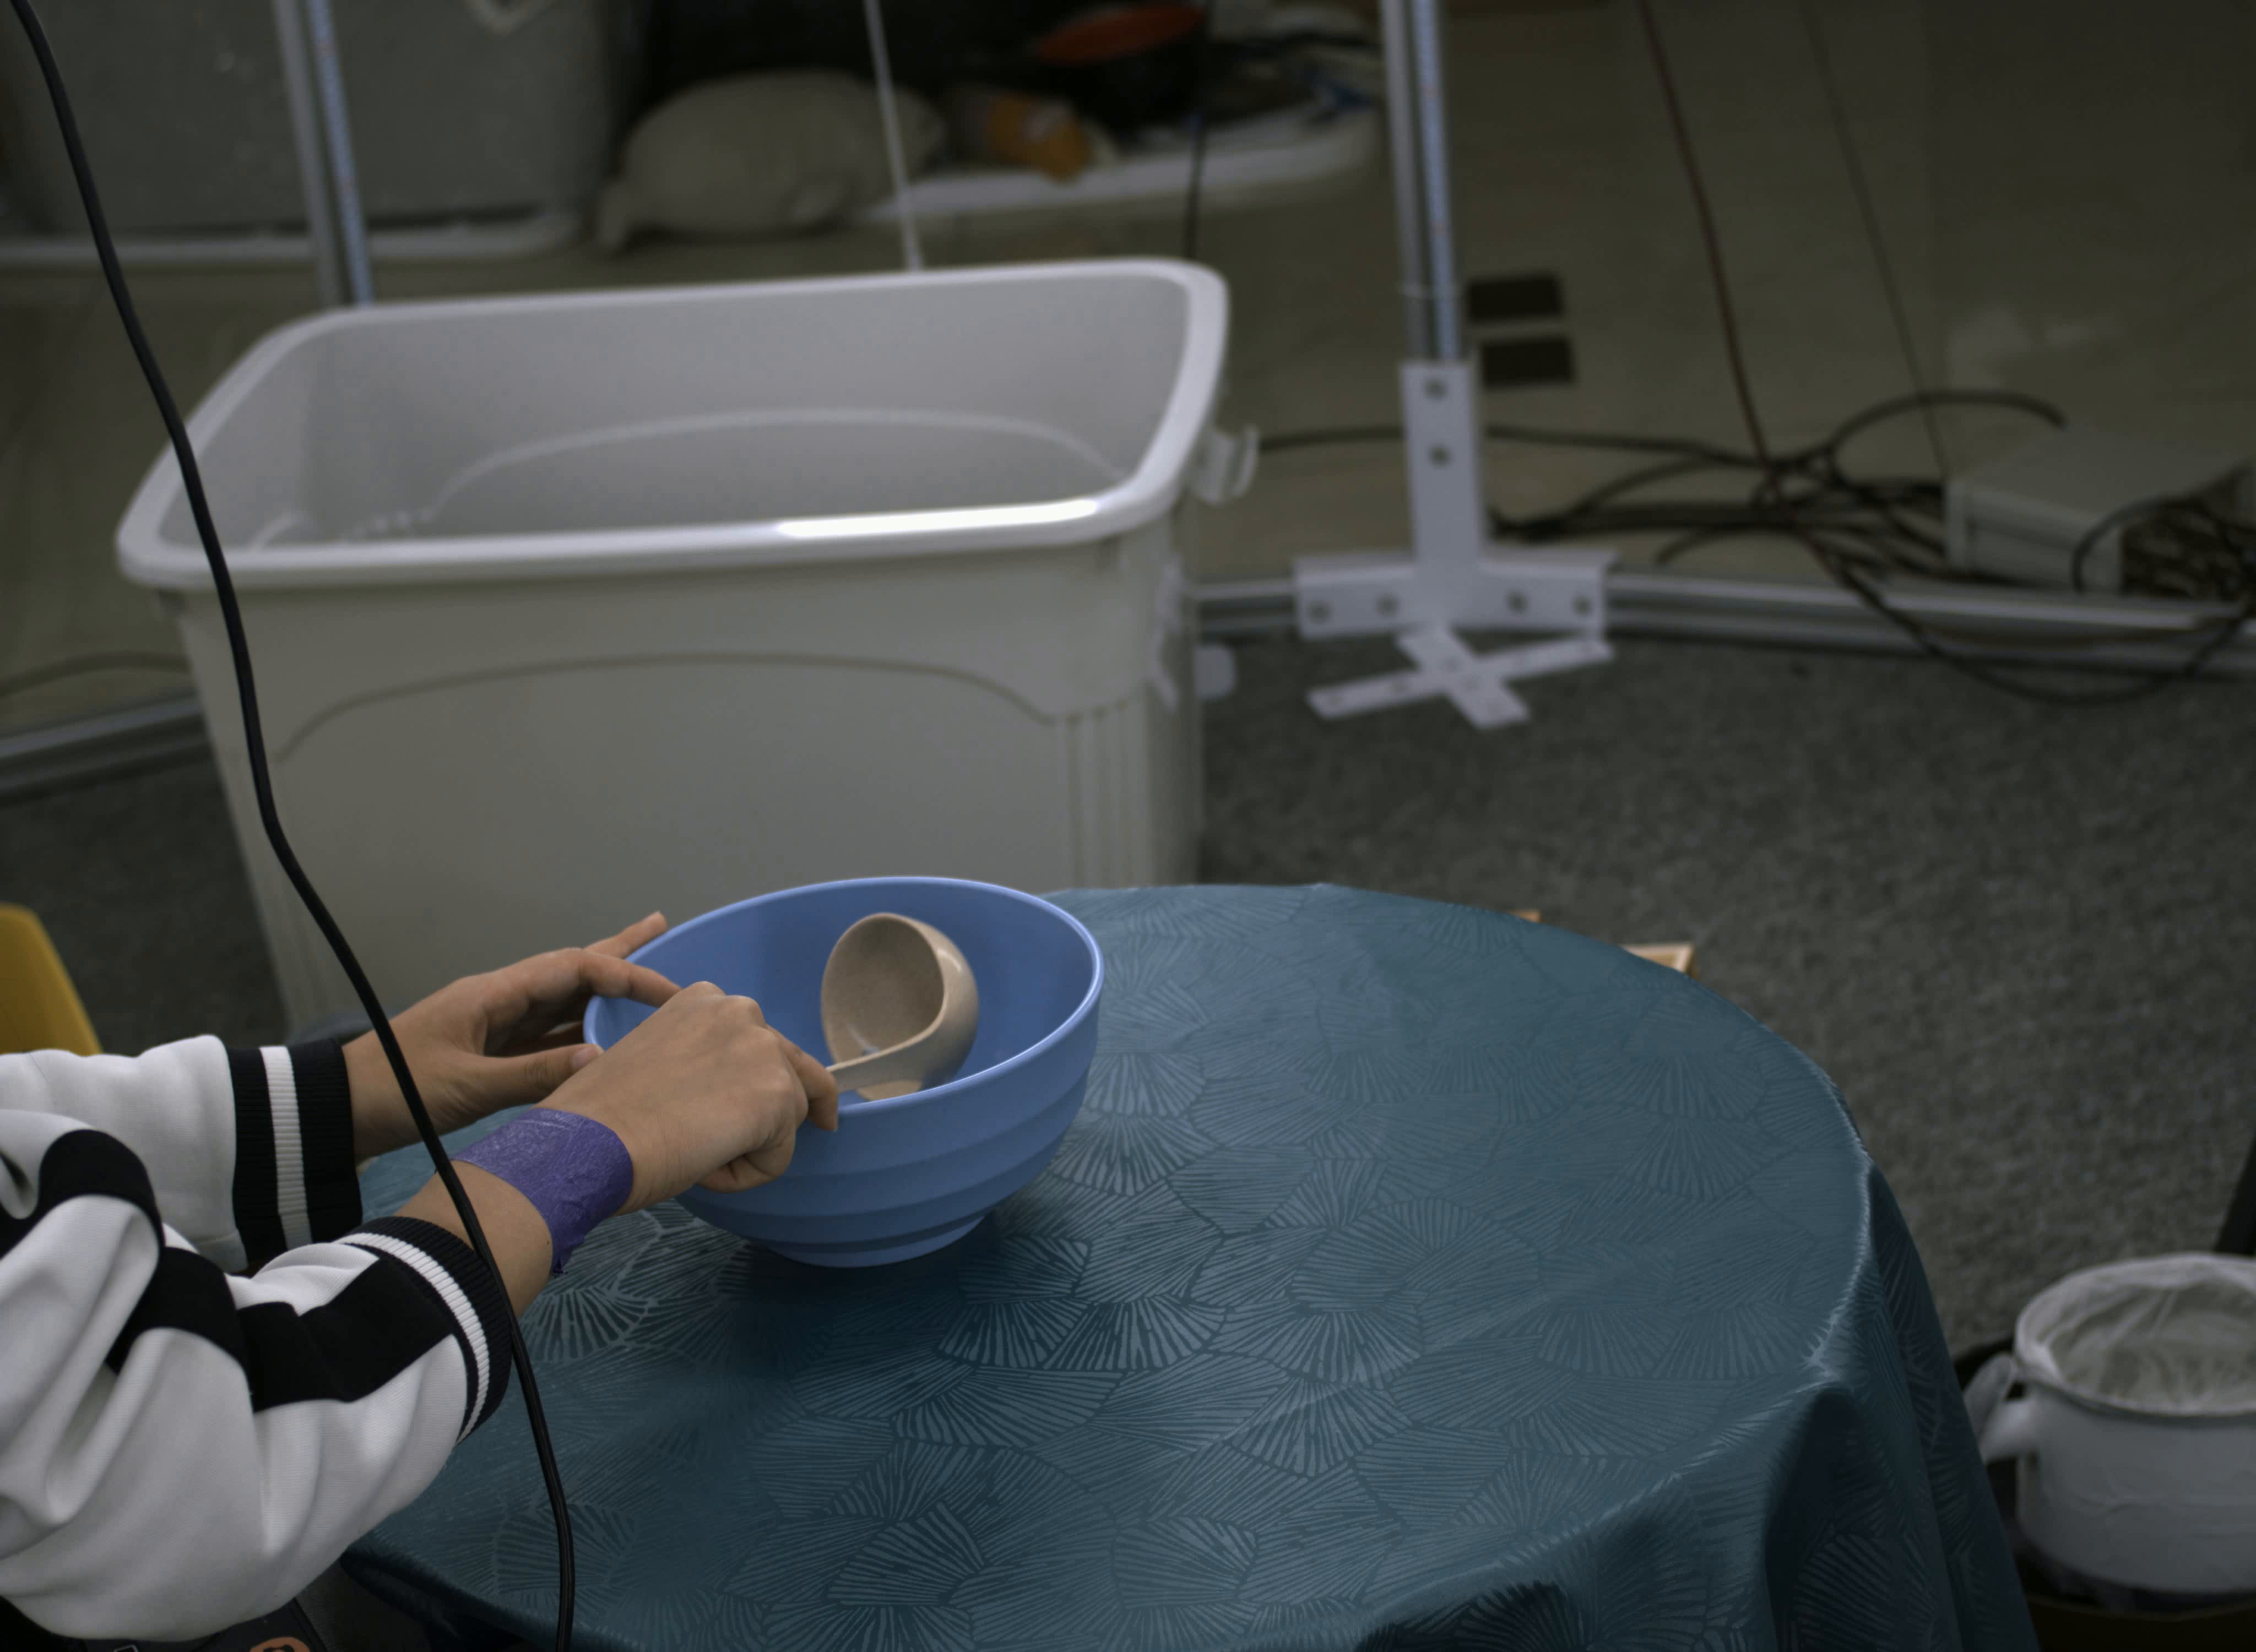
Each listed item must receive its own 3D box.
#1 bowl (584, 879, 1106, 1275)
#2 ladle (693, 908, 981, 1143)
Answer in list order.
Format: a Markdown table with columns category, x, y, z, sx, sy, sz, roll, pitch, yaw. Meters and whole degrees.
| category | x | y | z | sx | sy | sz | roll | pitch | yaw |
| --- | --- | --- | --- | --- | --- | --- | --- | --- | --- |
| bowl | -0.102 | 0.106 | 2.138 | 0.196 | 0.097 | 0.193 | -5 | 27 | 2 |
| ladle | -0.127 | 0.075 | 2.044 | 0.072 | 0.073 | 0.253 | 29 | 15 | 17 |
